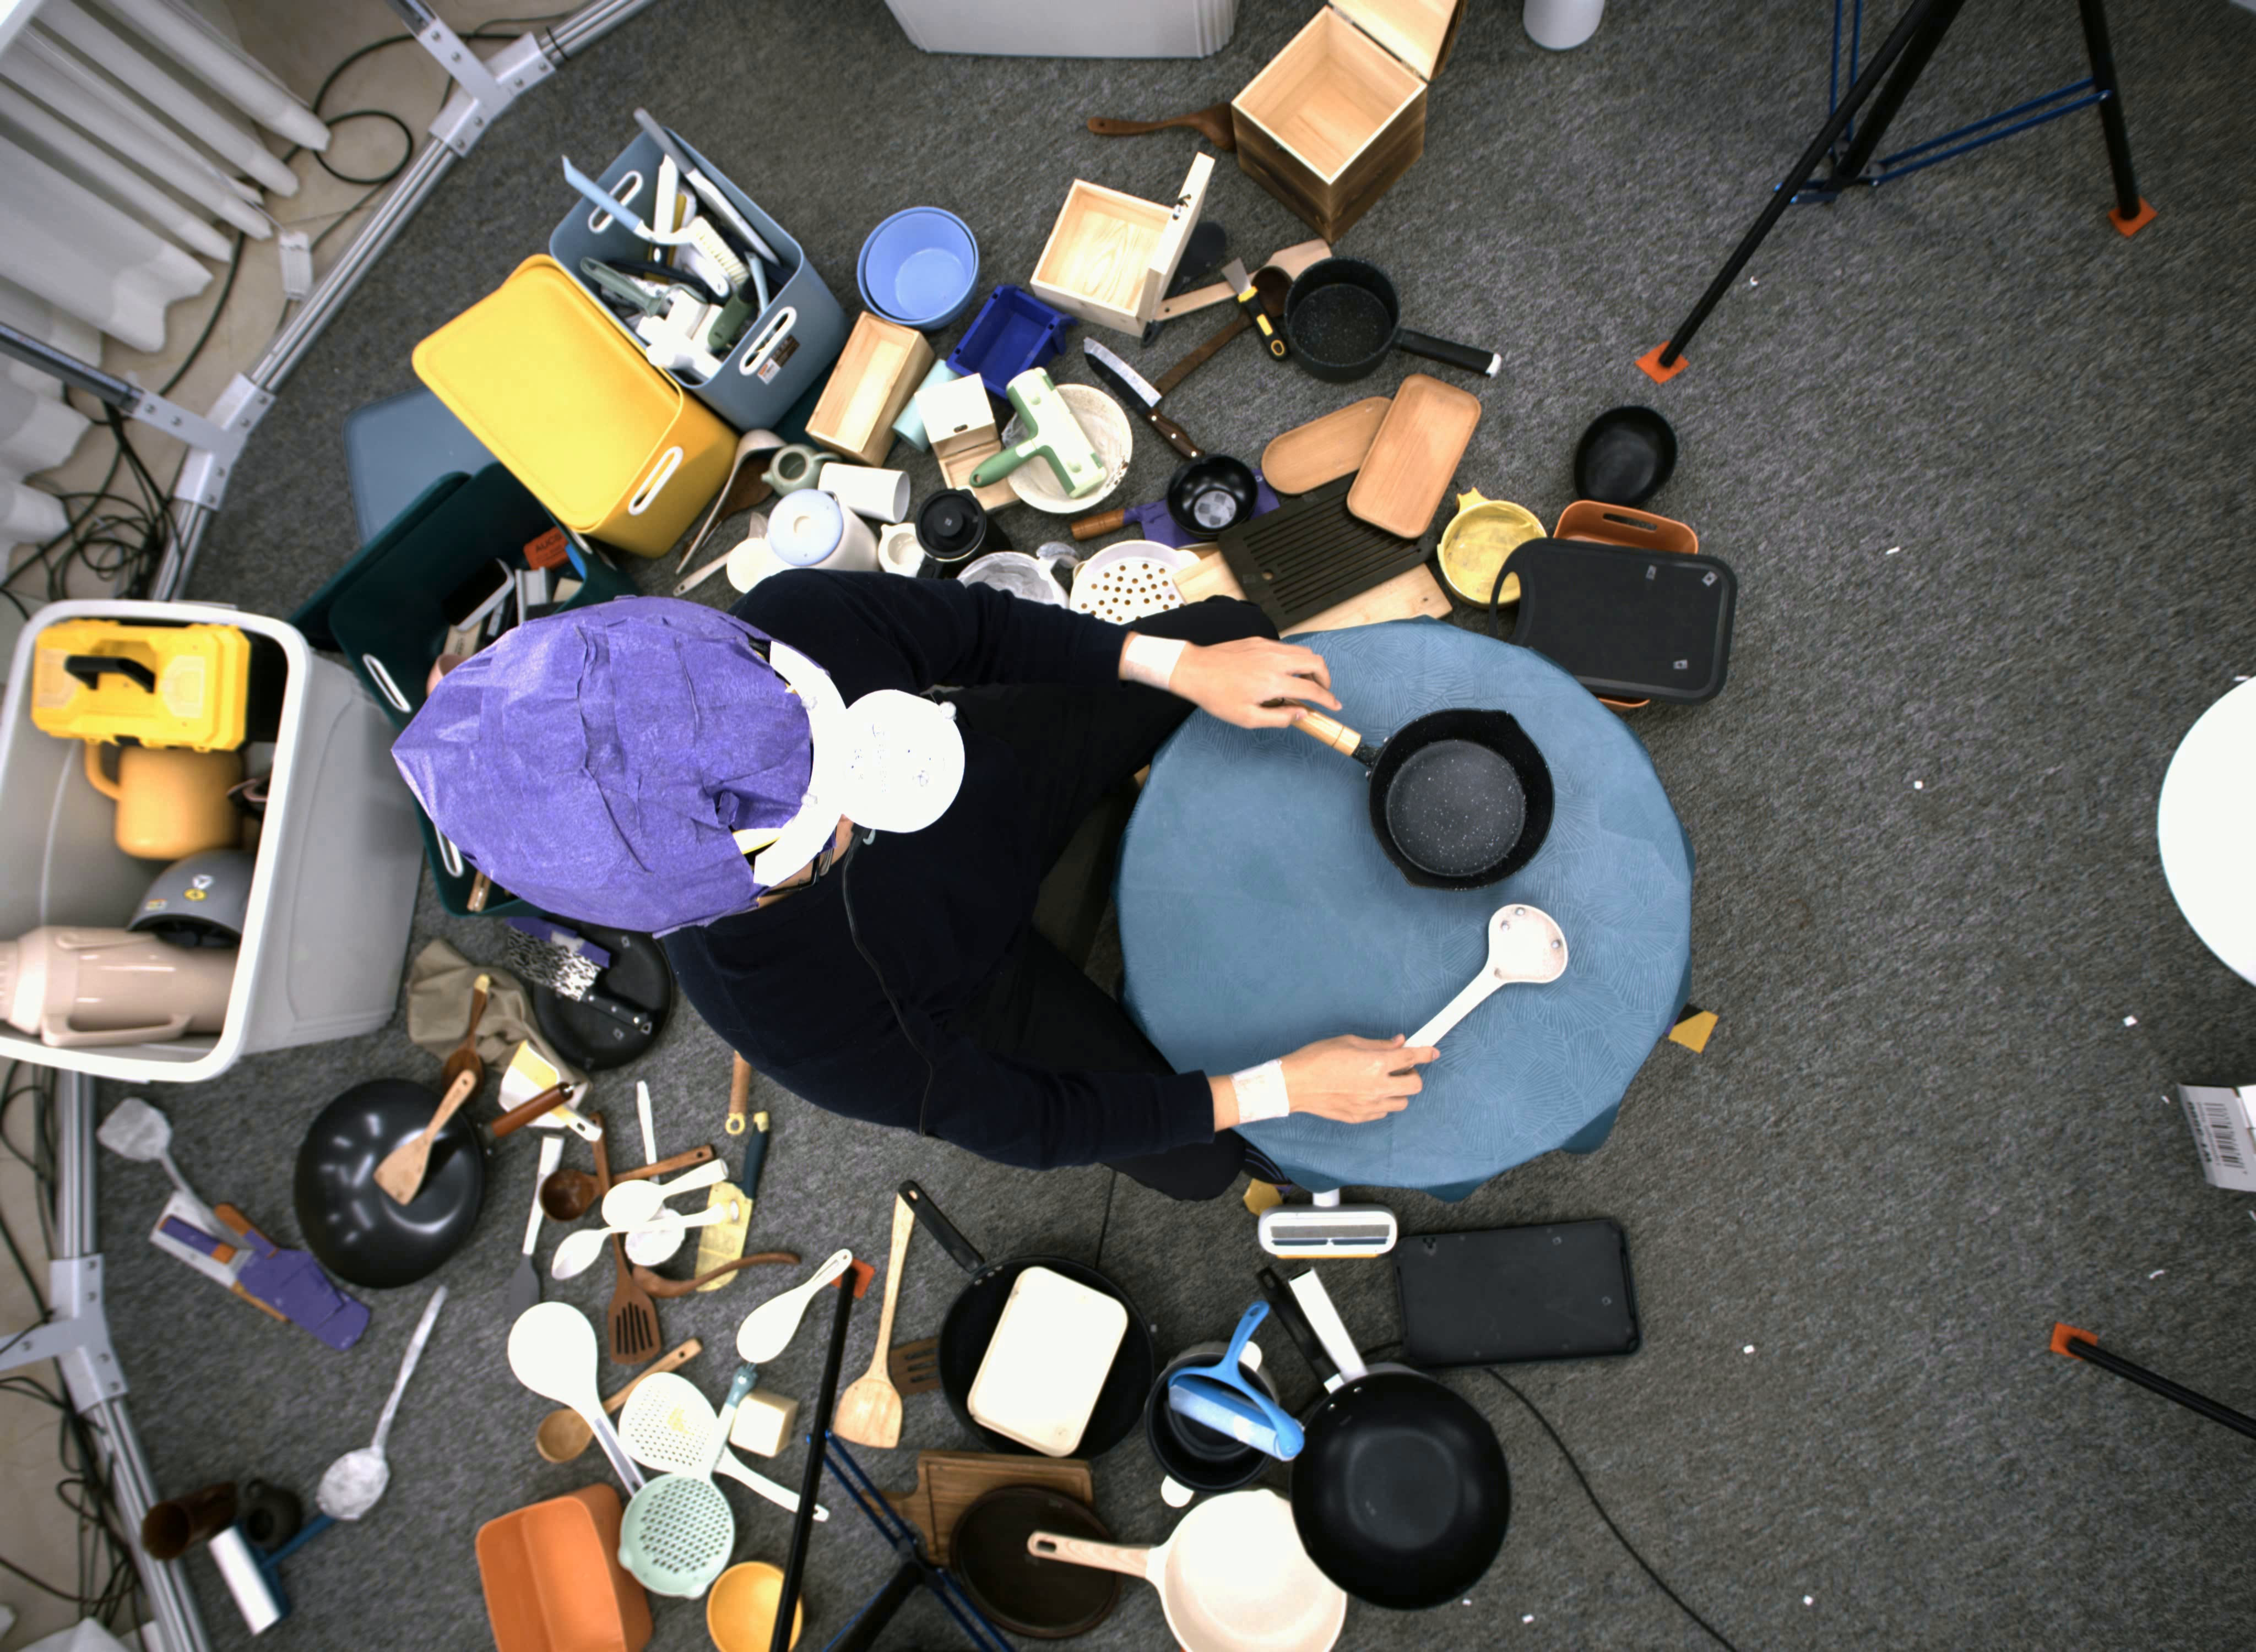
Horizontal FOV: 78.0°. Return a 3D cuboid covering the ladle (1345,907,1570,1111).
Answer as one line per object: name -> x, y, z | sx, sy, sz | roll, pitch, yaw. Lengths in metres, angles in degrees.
ladle -> 0.325, 0.187, 1.382 | 0.273, 0.070, 0.089 | -40, 80, -7

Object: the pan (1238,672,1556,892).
pan -> 0.267, -0.062, 1.413 | 0.342, 0.108, 0.208 | 28, 93, 9
